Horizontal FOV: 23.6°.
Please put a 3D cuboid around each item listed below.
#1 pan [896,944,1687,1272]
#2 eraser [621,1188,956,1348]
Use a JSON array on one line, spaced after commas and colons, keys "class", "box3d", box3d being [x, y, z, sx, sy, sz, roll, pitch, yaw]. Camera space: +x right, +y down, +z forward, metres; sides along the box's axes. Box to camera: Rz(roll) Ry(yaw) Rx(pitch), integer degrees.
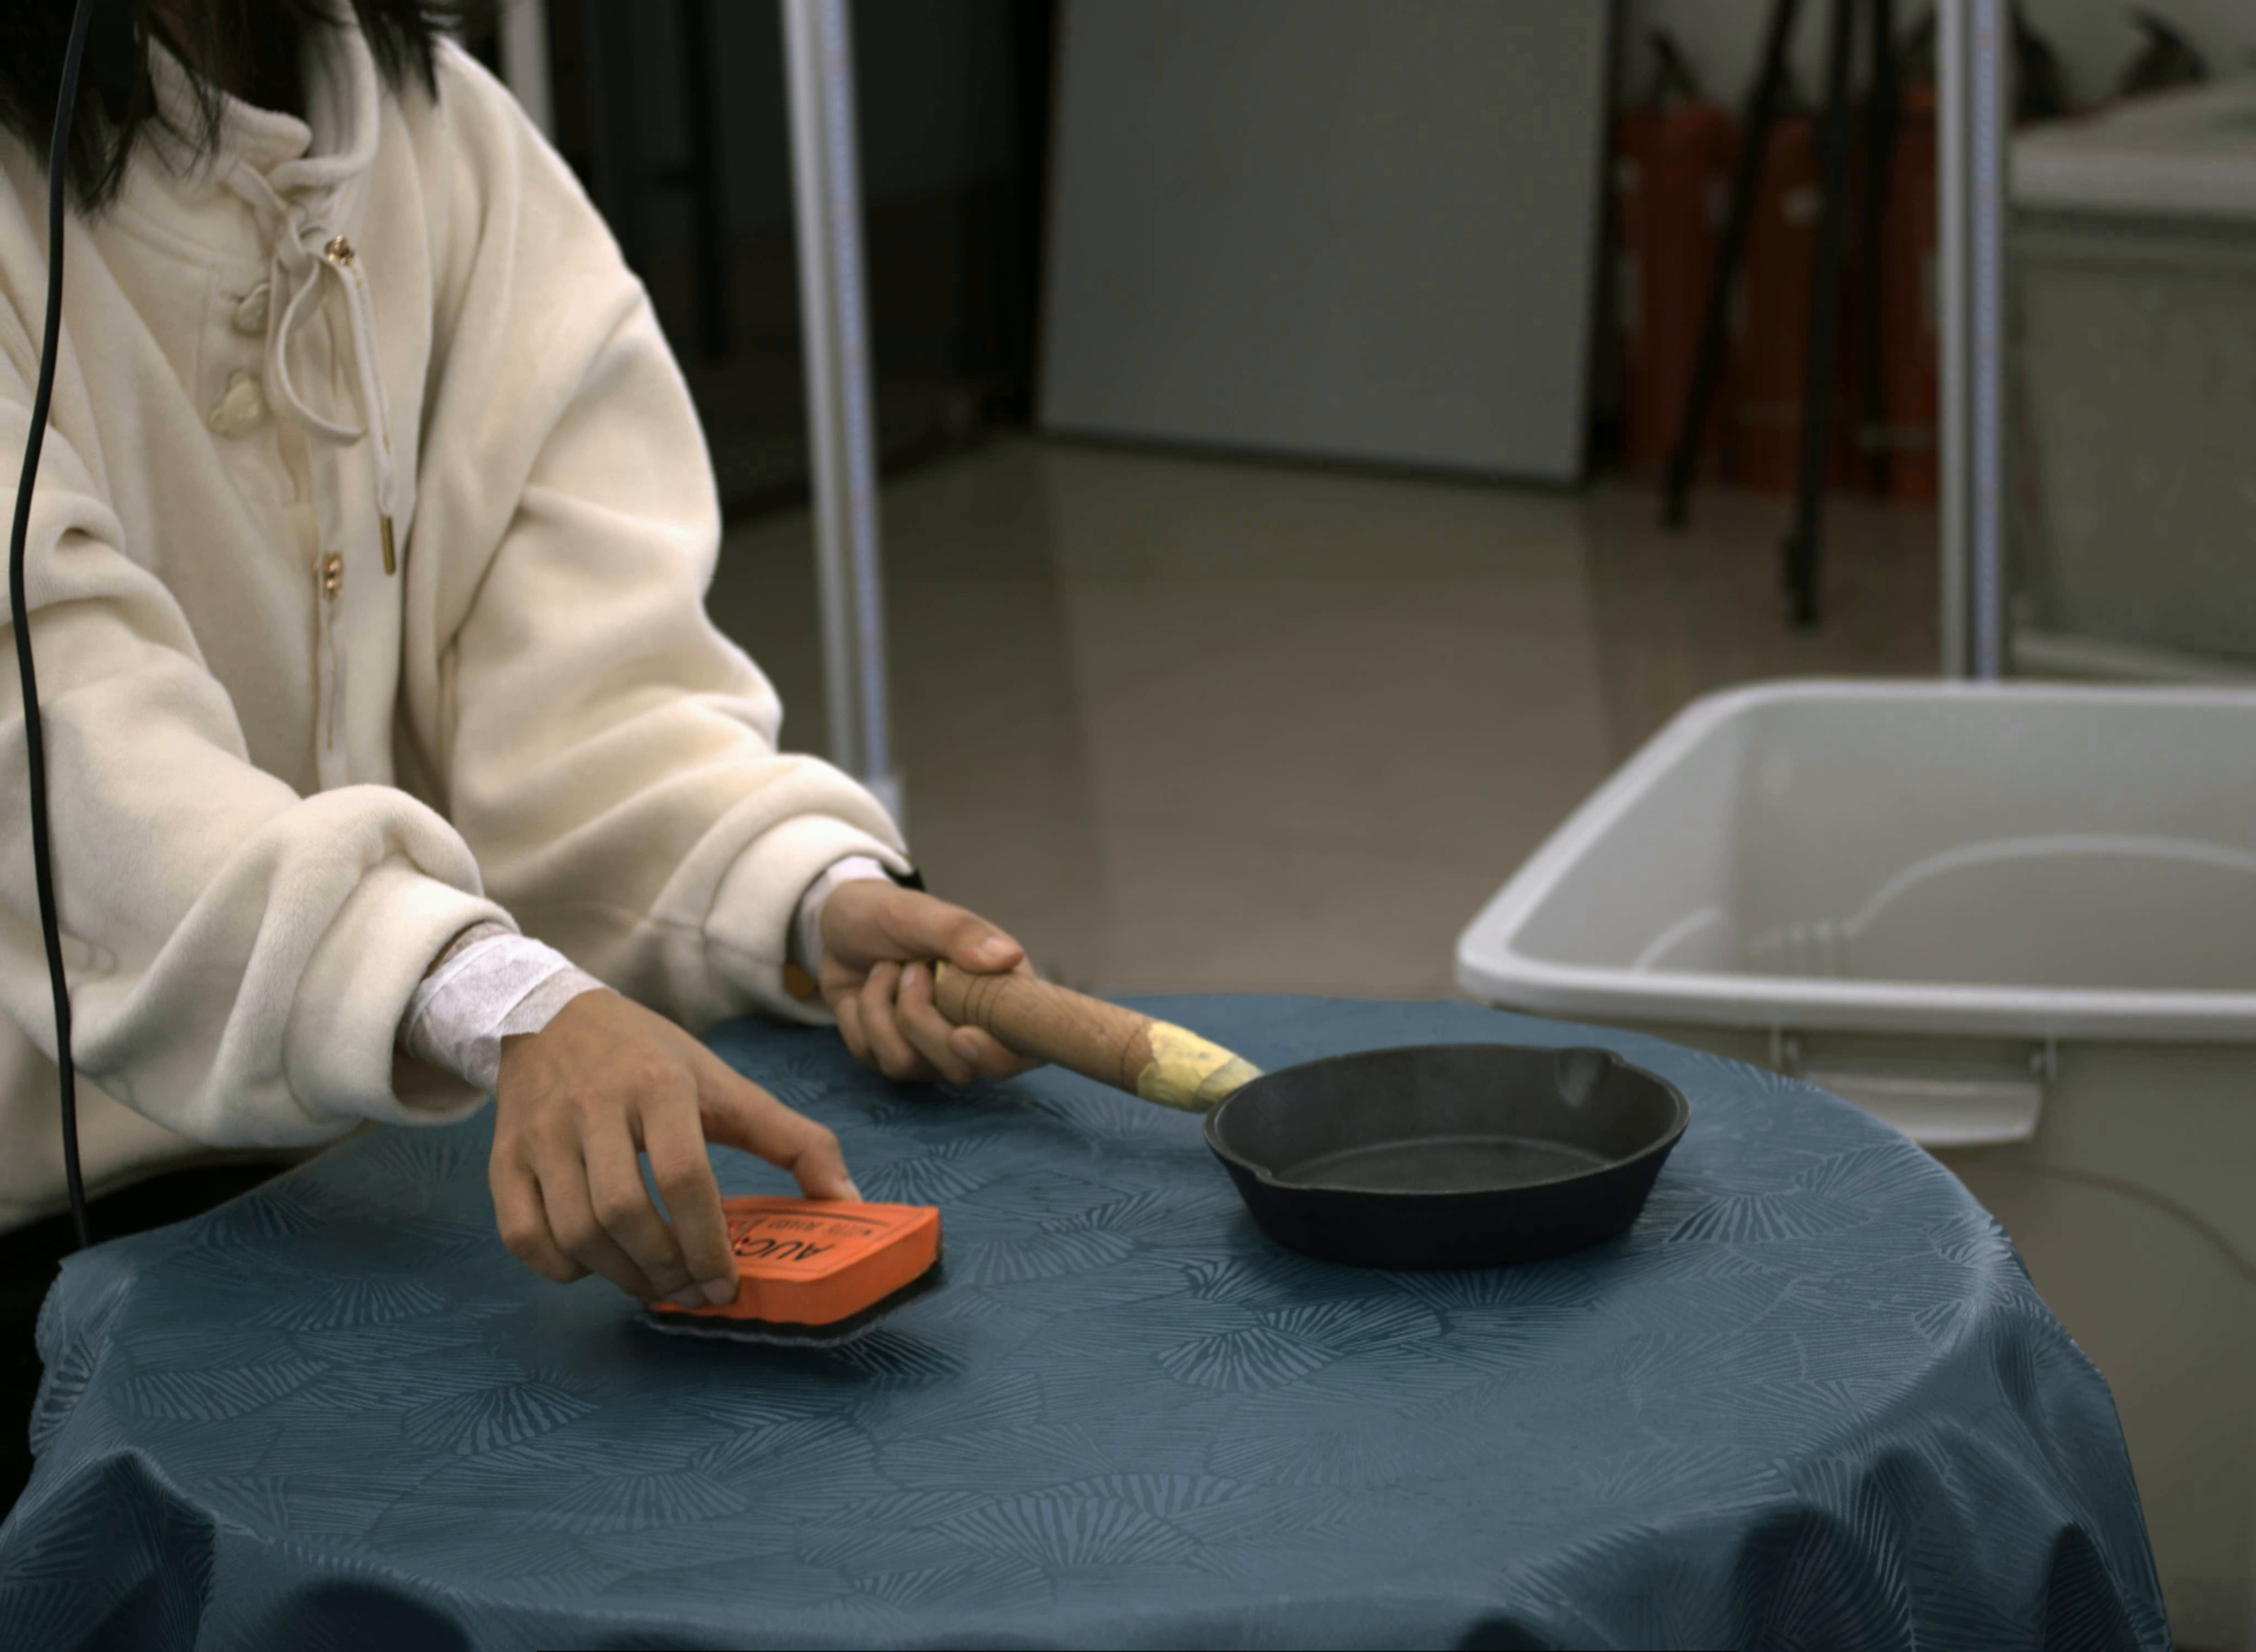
[{"class": "pan", "box3d": [0.041, 0.088, 1.783, 0.327, 0.050, 0.165, 11, 21, 44]}, {"class": "eraser", "box3d": [-0.104, 0.134, 1.653, 0.058, 0.023, 0.109, -30, 18, -36]}]
